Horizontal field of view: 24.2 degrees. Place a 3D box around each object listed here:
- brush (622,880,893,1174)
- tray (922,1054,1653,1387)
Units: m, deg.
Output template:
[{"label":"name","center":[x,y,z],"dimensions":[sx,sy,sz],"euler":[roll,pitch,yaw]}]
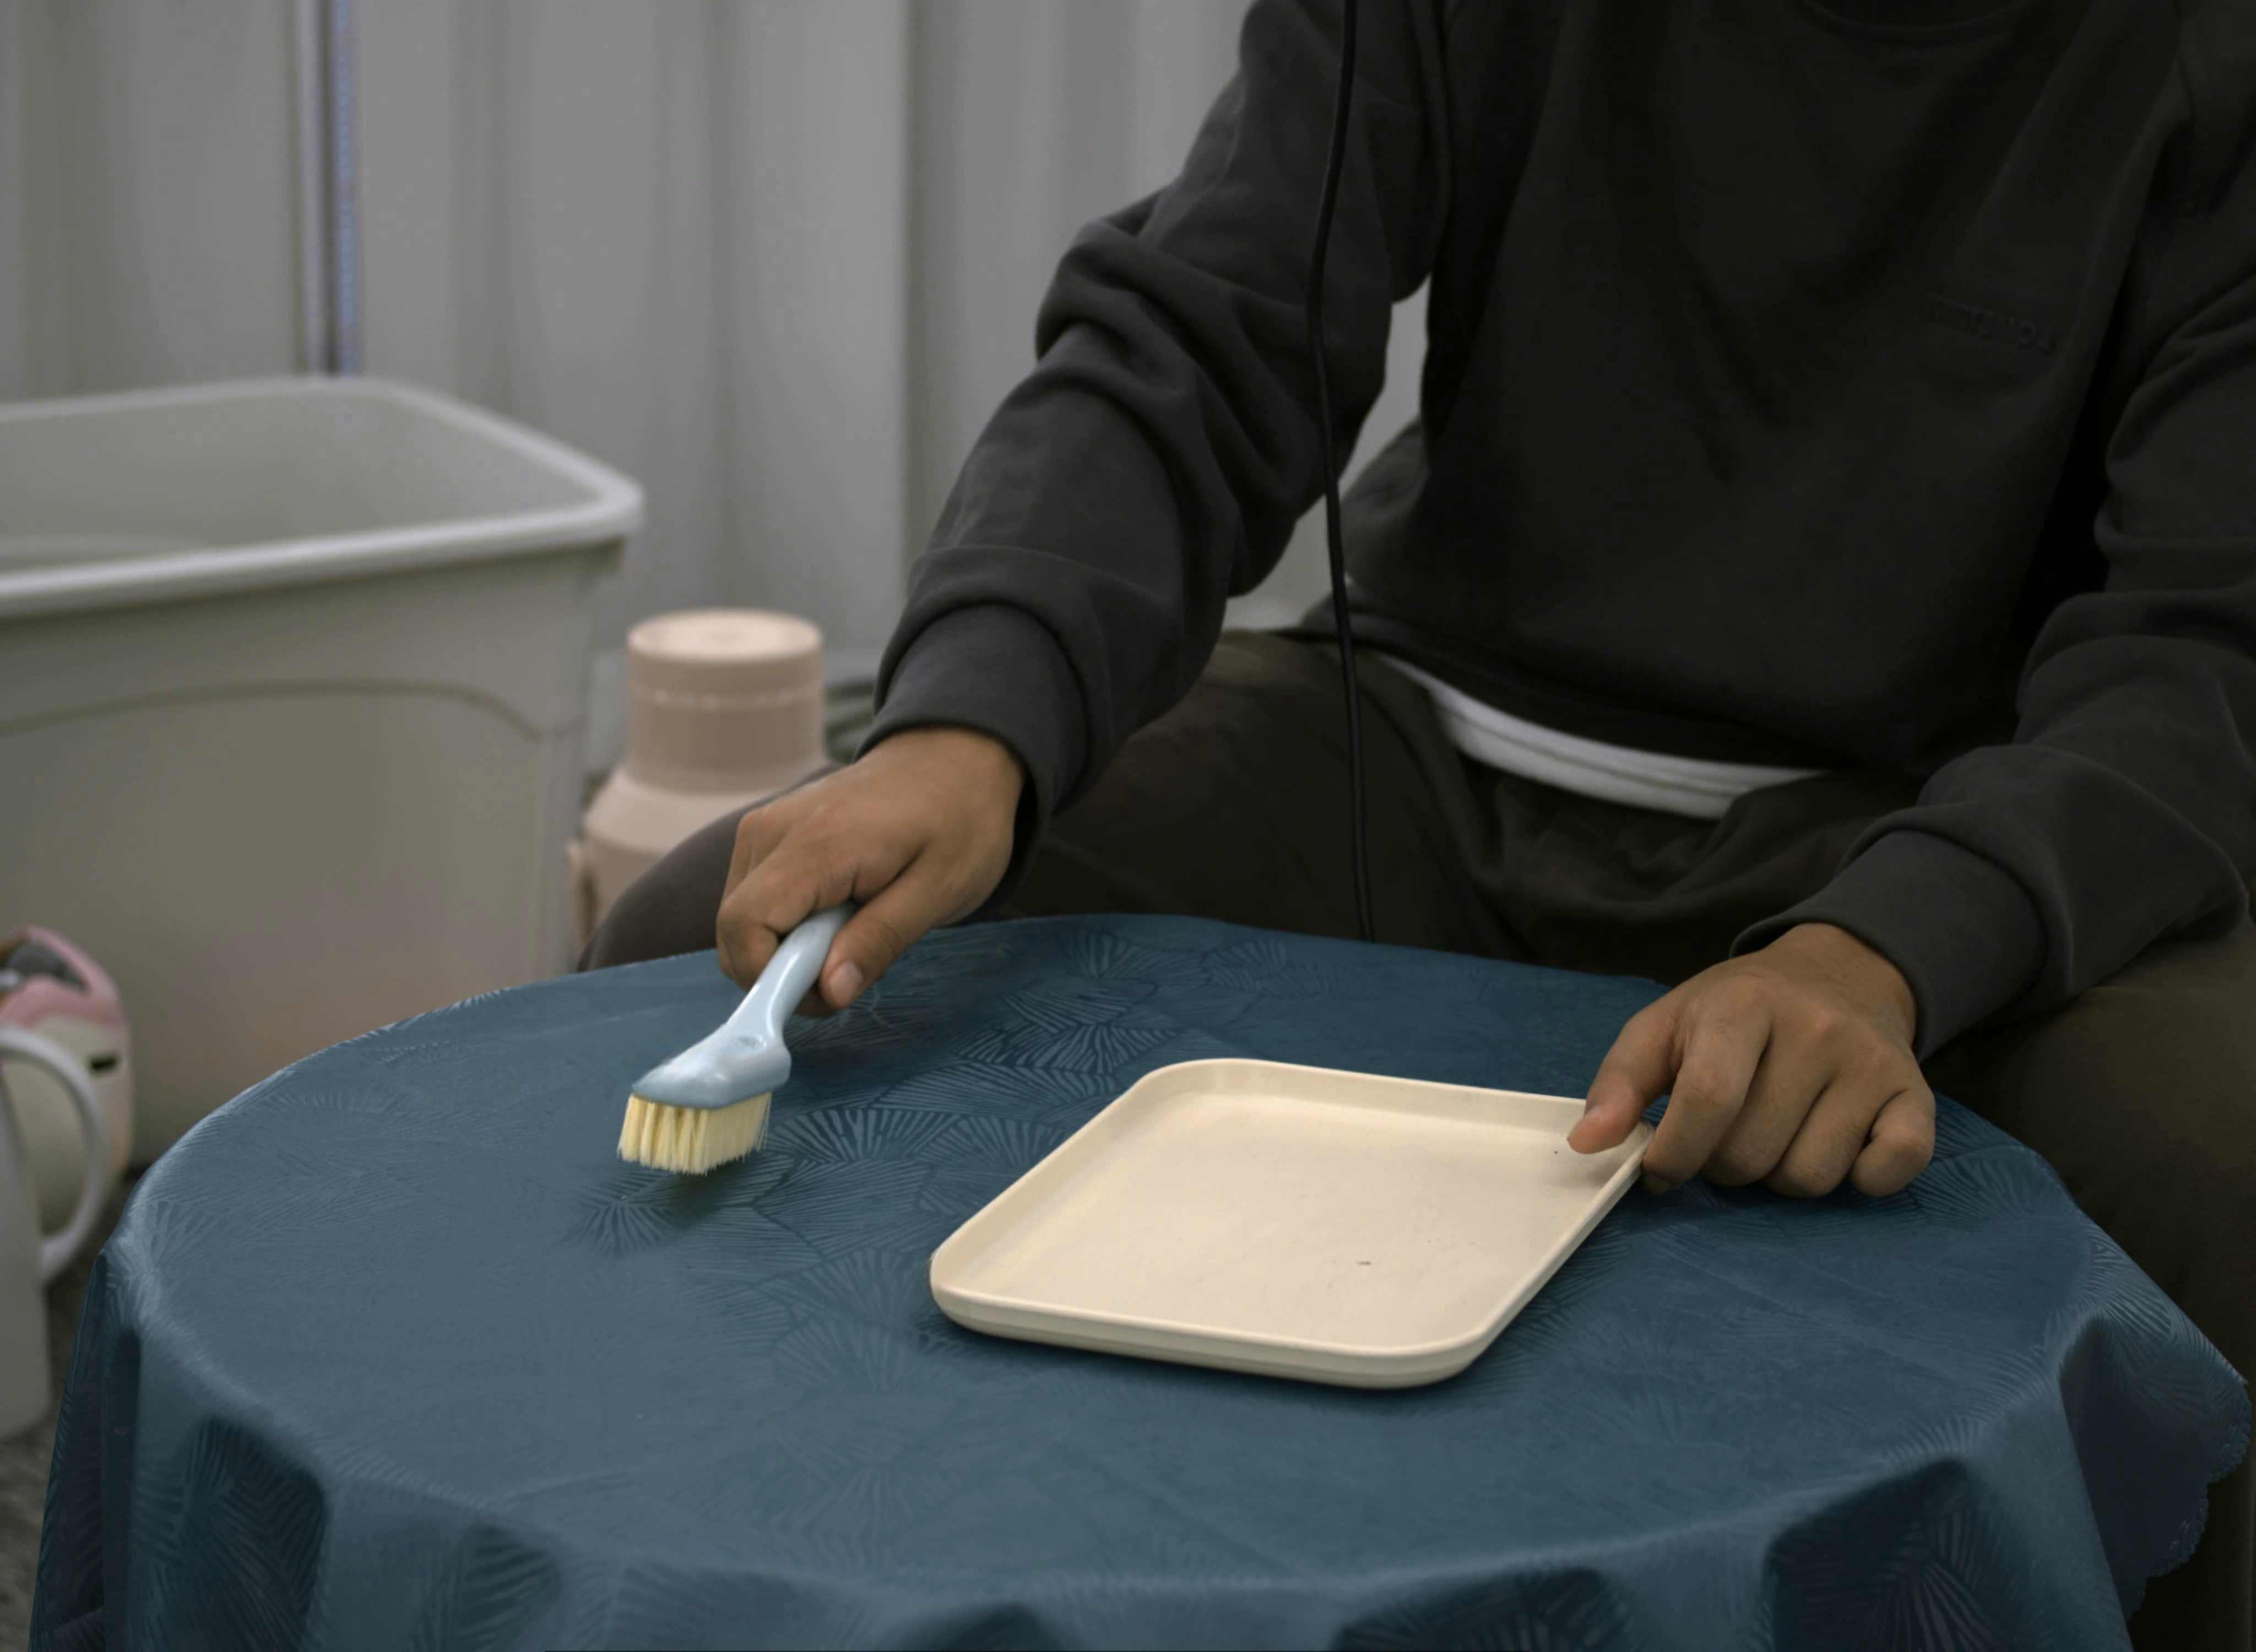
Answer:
[{"label":"brush","center":[-0.116,0.064,1.691],"dimensions":[0.037,0.050,0.228],"euler":[11,19,9]},{"label":"tray","center":[0.052,0.117,1.579],"dimensions":[0.169,0.017,0.240],"euler":[7,16,19]}]
